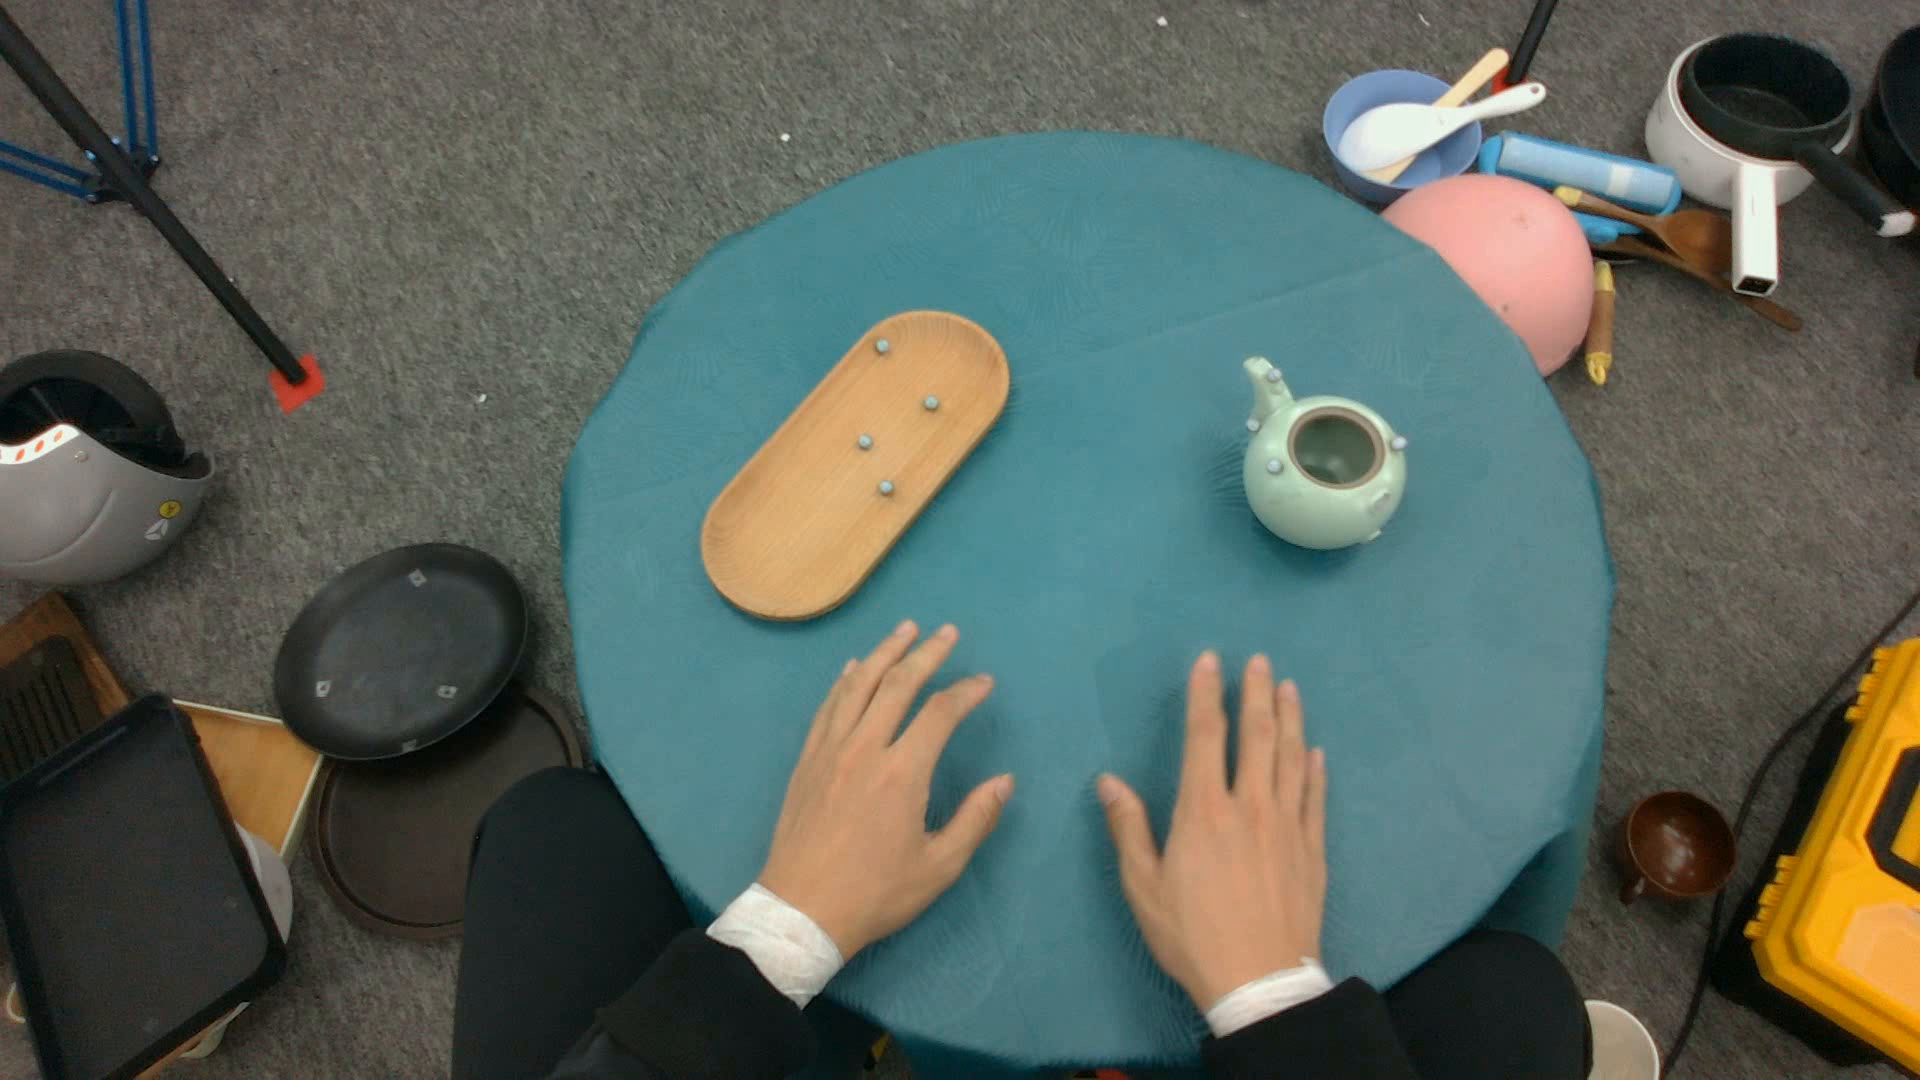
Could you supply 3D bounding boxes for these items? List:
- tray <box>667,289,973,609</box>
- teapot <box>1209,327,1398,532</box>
[{"bbox_3d":[-0.079,-0.057,0.808,0.101,0.020,0.232,30,69,15],"label":"tray"},{"bbox_3d":[0.186,-0.055,0.777,0.088,0.074,0.144,-34,67,-14],"label":"teapot"}]
